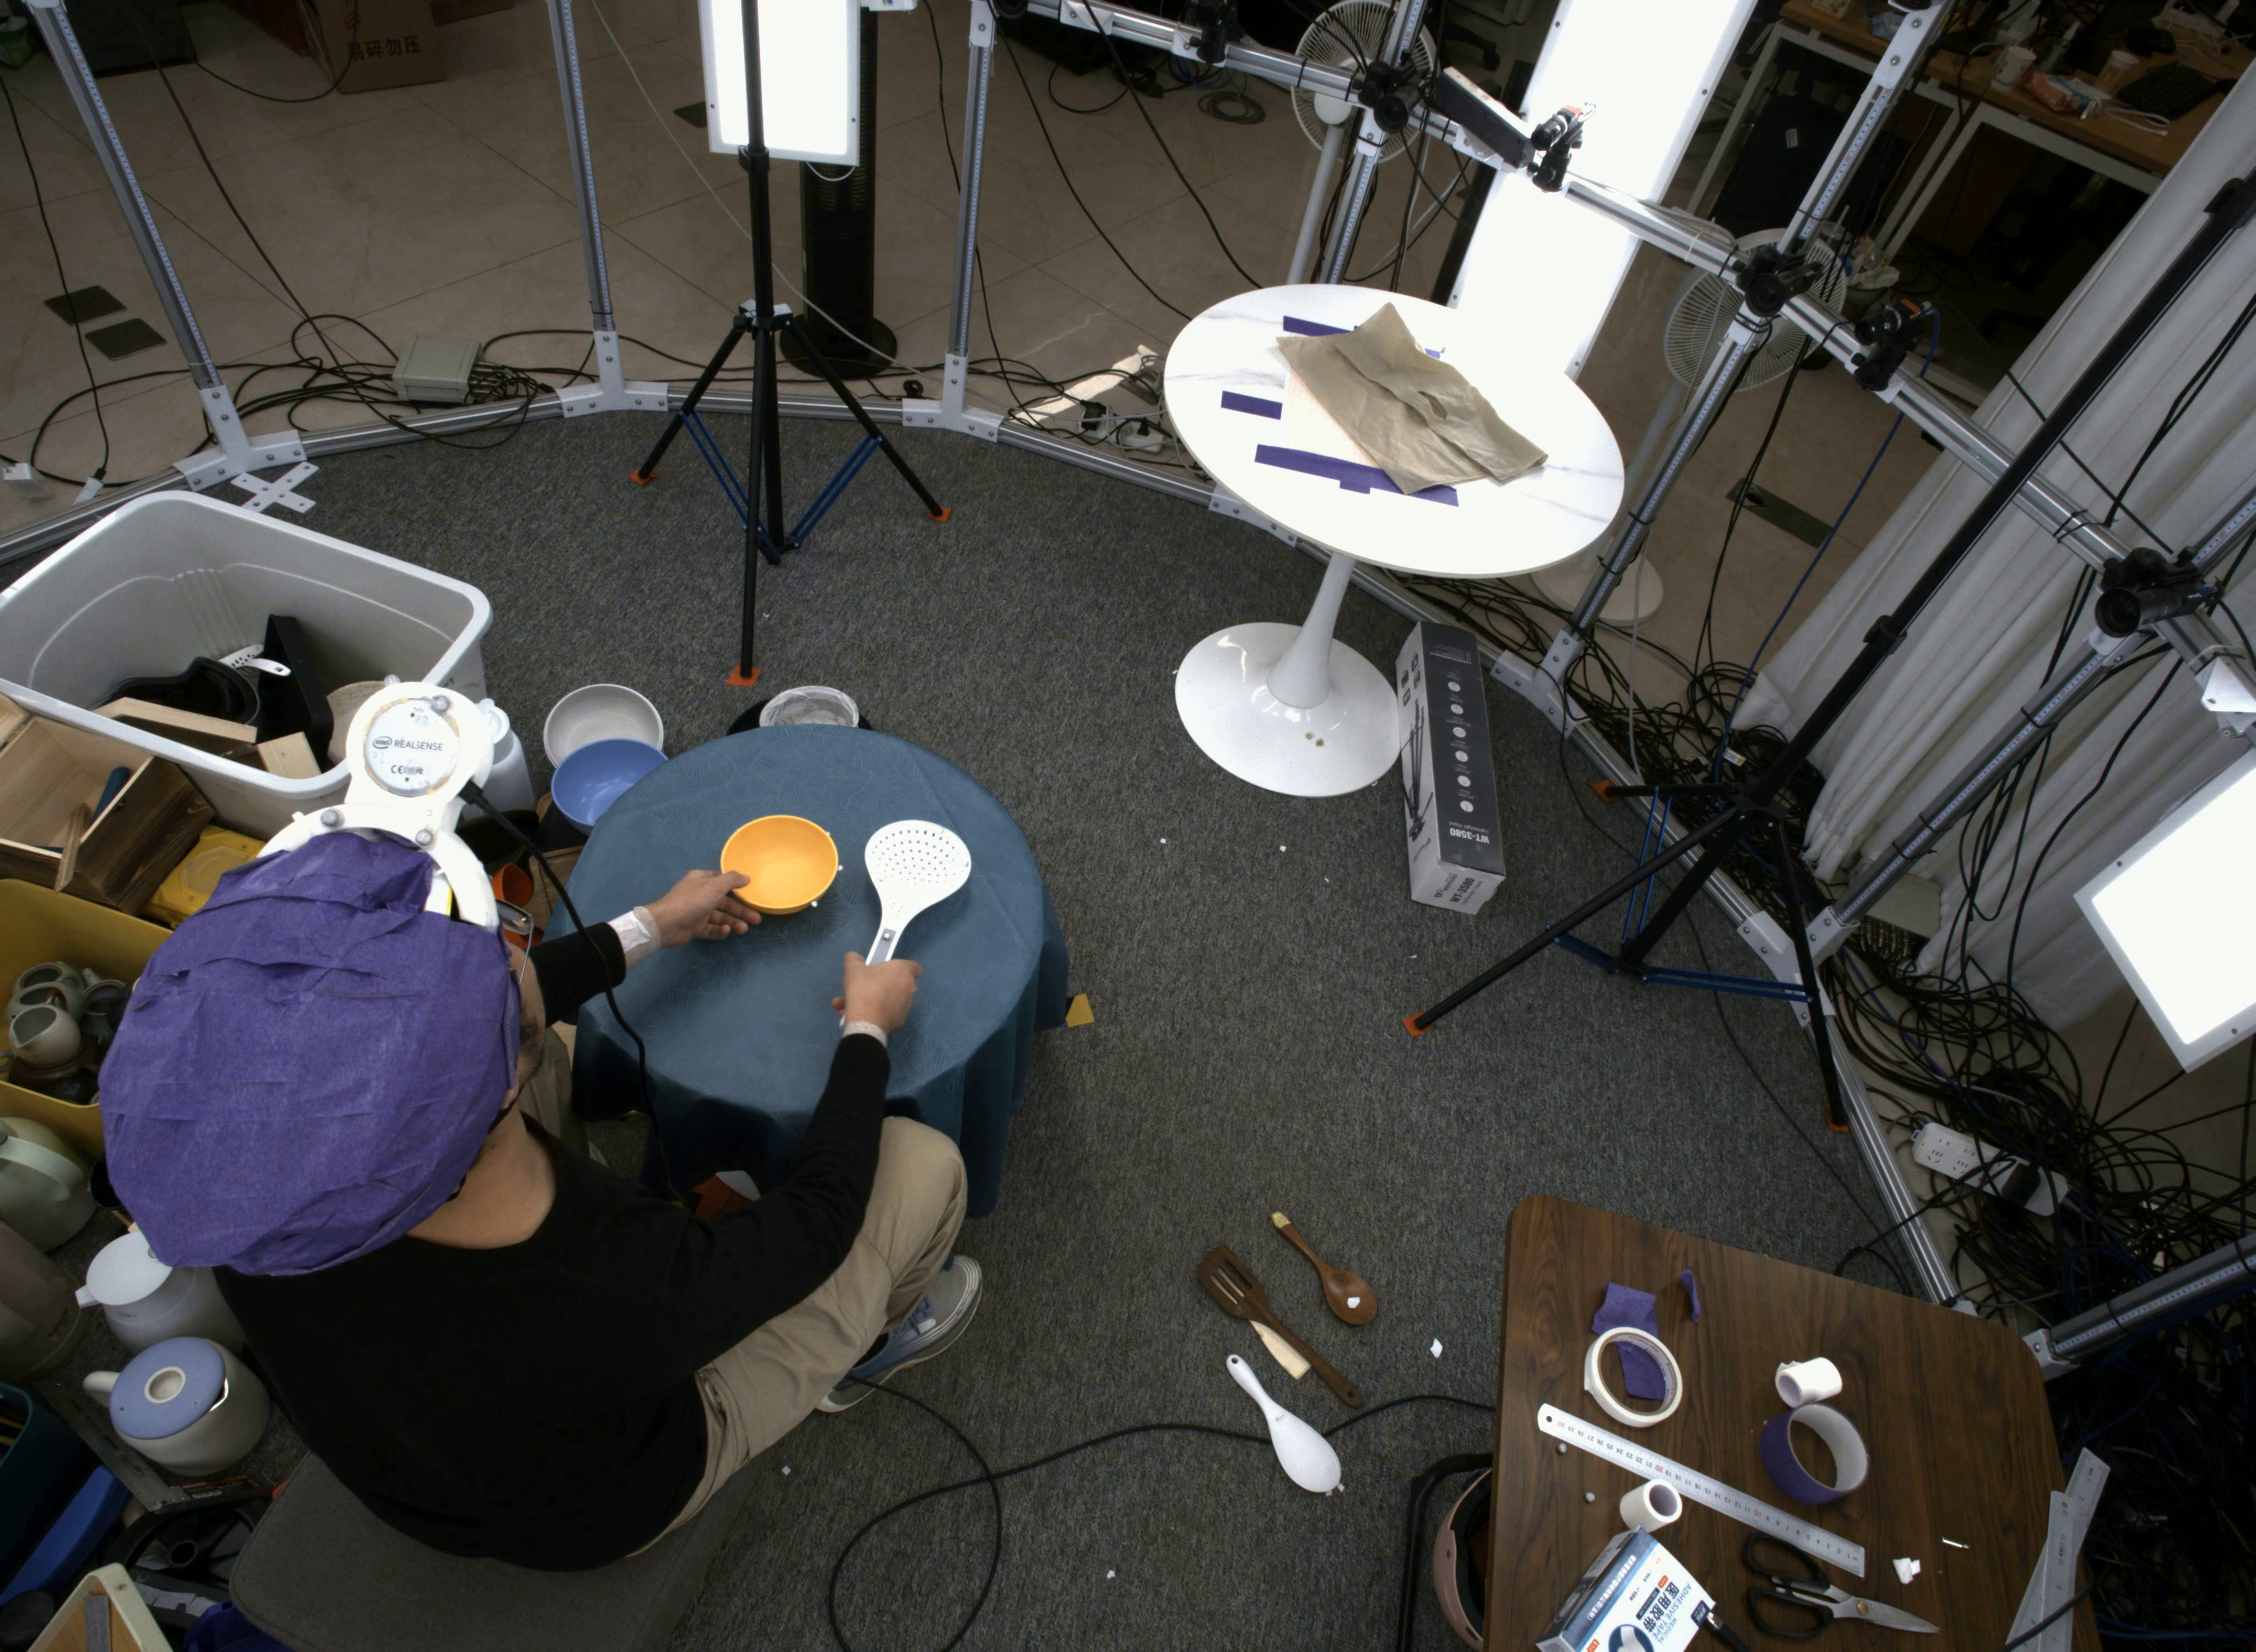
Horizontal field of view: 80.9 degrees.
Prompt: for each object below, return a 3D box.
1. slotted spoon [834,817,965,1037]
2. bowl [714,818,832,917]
[{"bbox_3d":[-0.296,0.116,1.607,0.135,0.046,0.344,17,40,-4],"label":"slotted spoon"},{"bbox_3d":[-0.445,0.062,1.631,0.145,0.061,0.142,7,51,-7],"label":"bowl"}]
